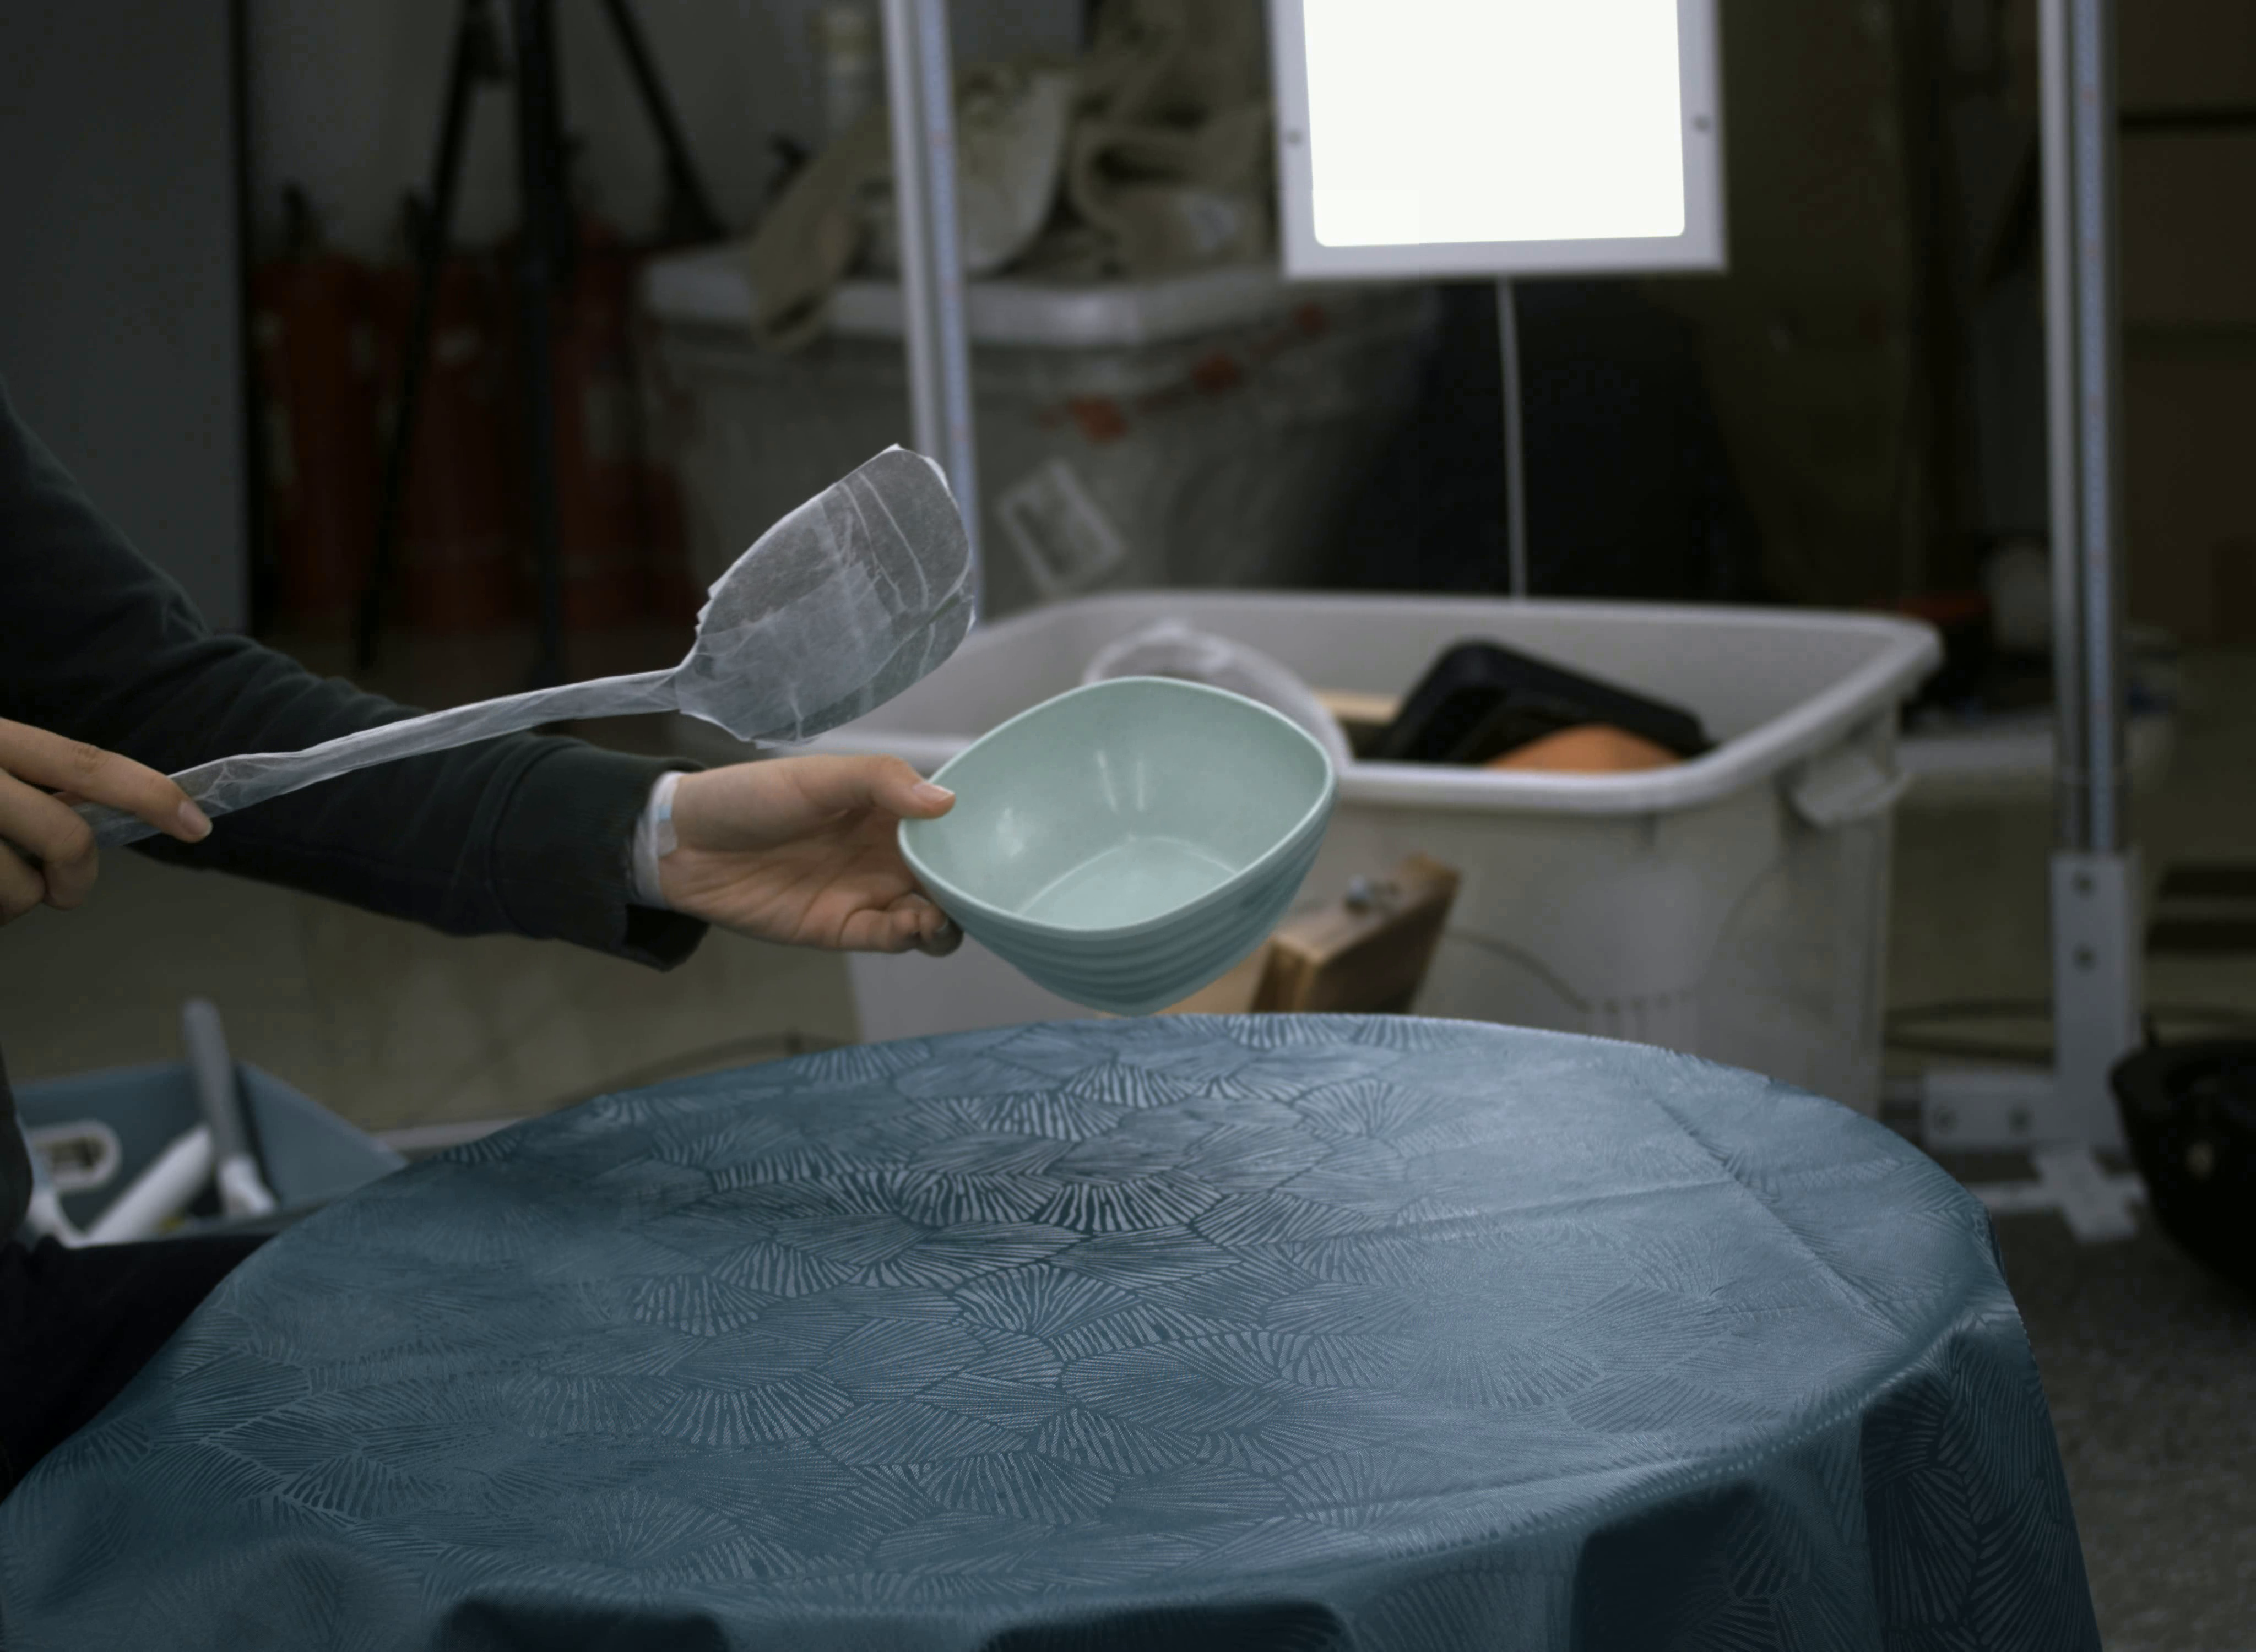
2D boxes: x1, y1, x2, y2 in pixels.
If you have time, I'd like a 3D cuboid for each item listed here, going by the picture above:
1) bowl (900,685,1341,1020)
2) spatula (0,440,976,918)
[{"bbox_3d":[0.001,0.015,1.882,0.151,0.059,0.151,-8,33,4],"label":"bowl"},{"bbox_3d":[-0.220,-0.031,1.766,0.364,0.098,0.045,-16,48,1],"label":"spatula"}]
